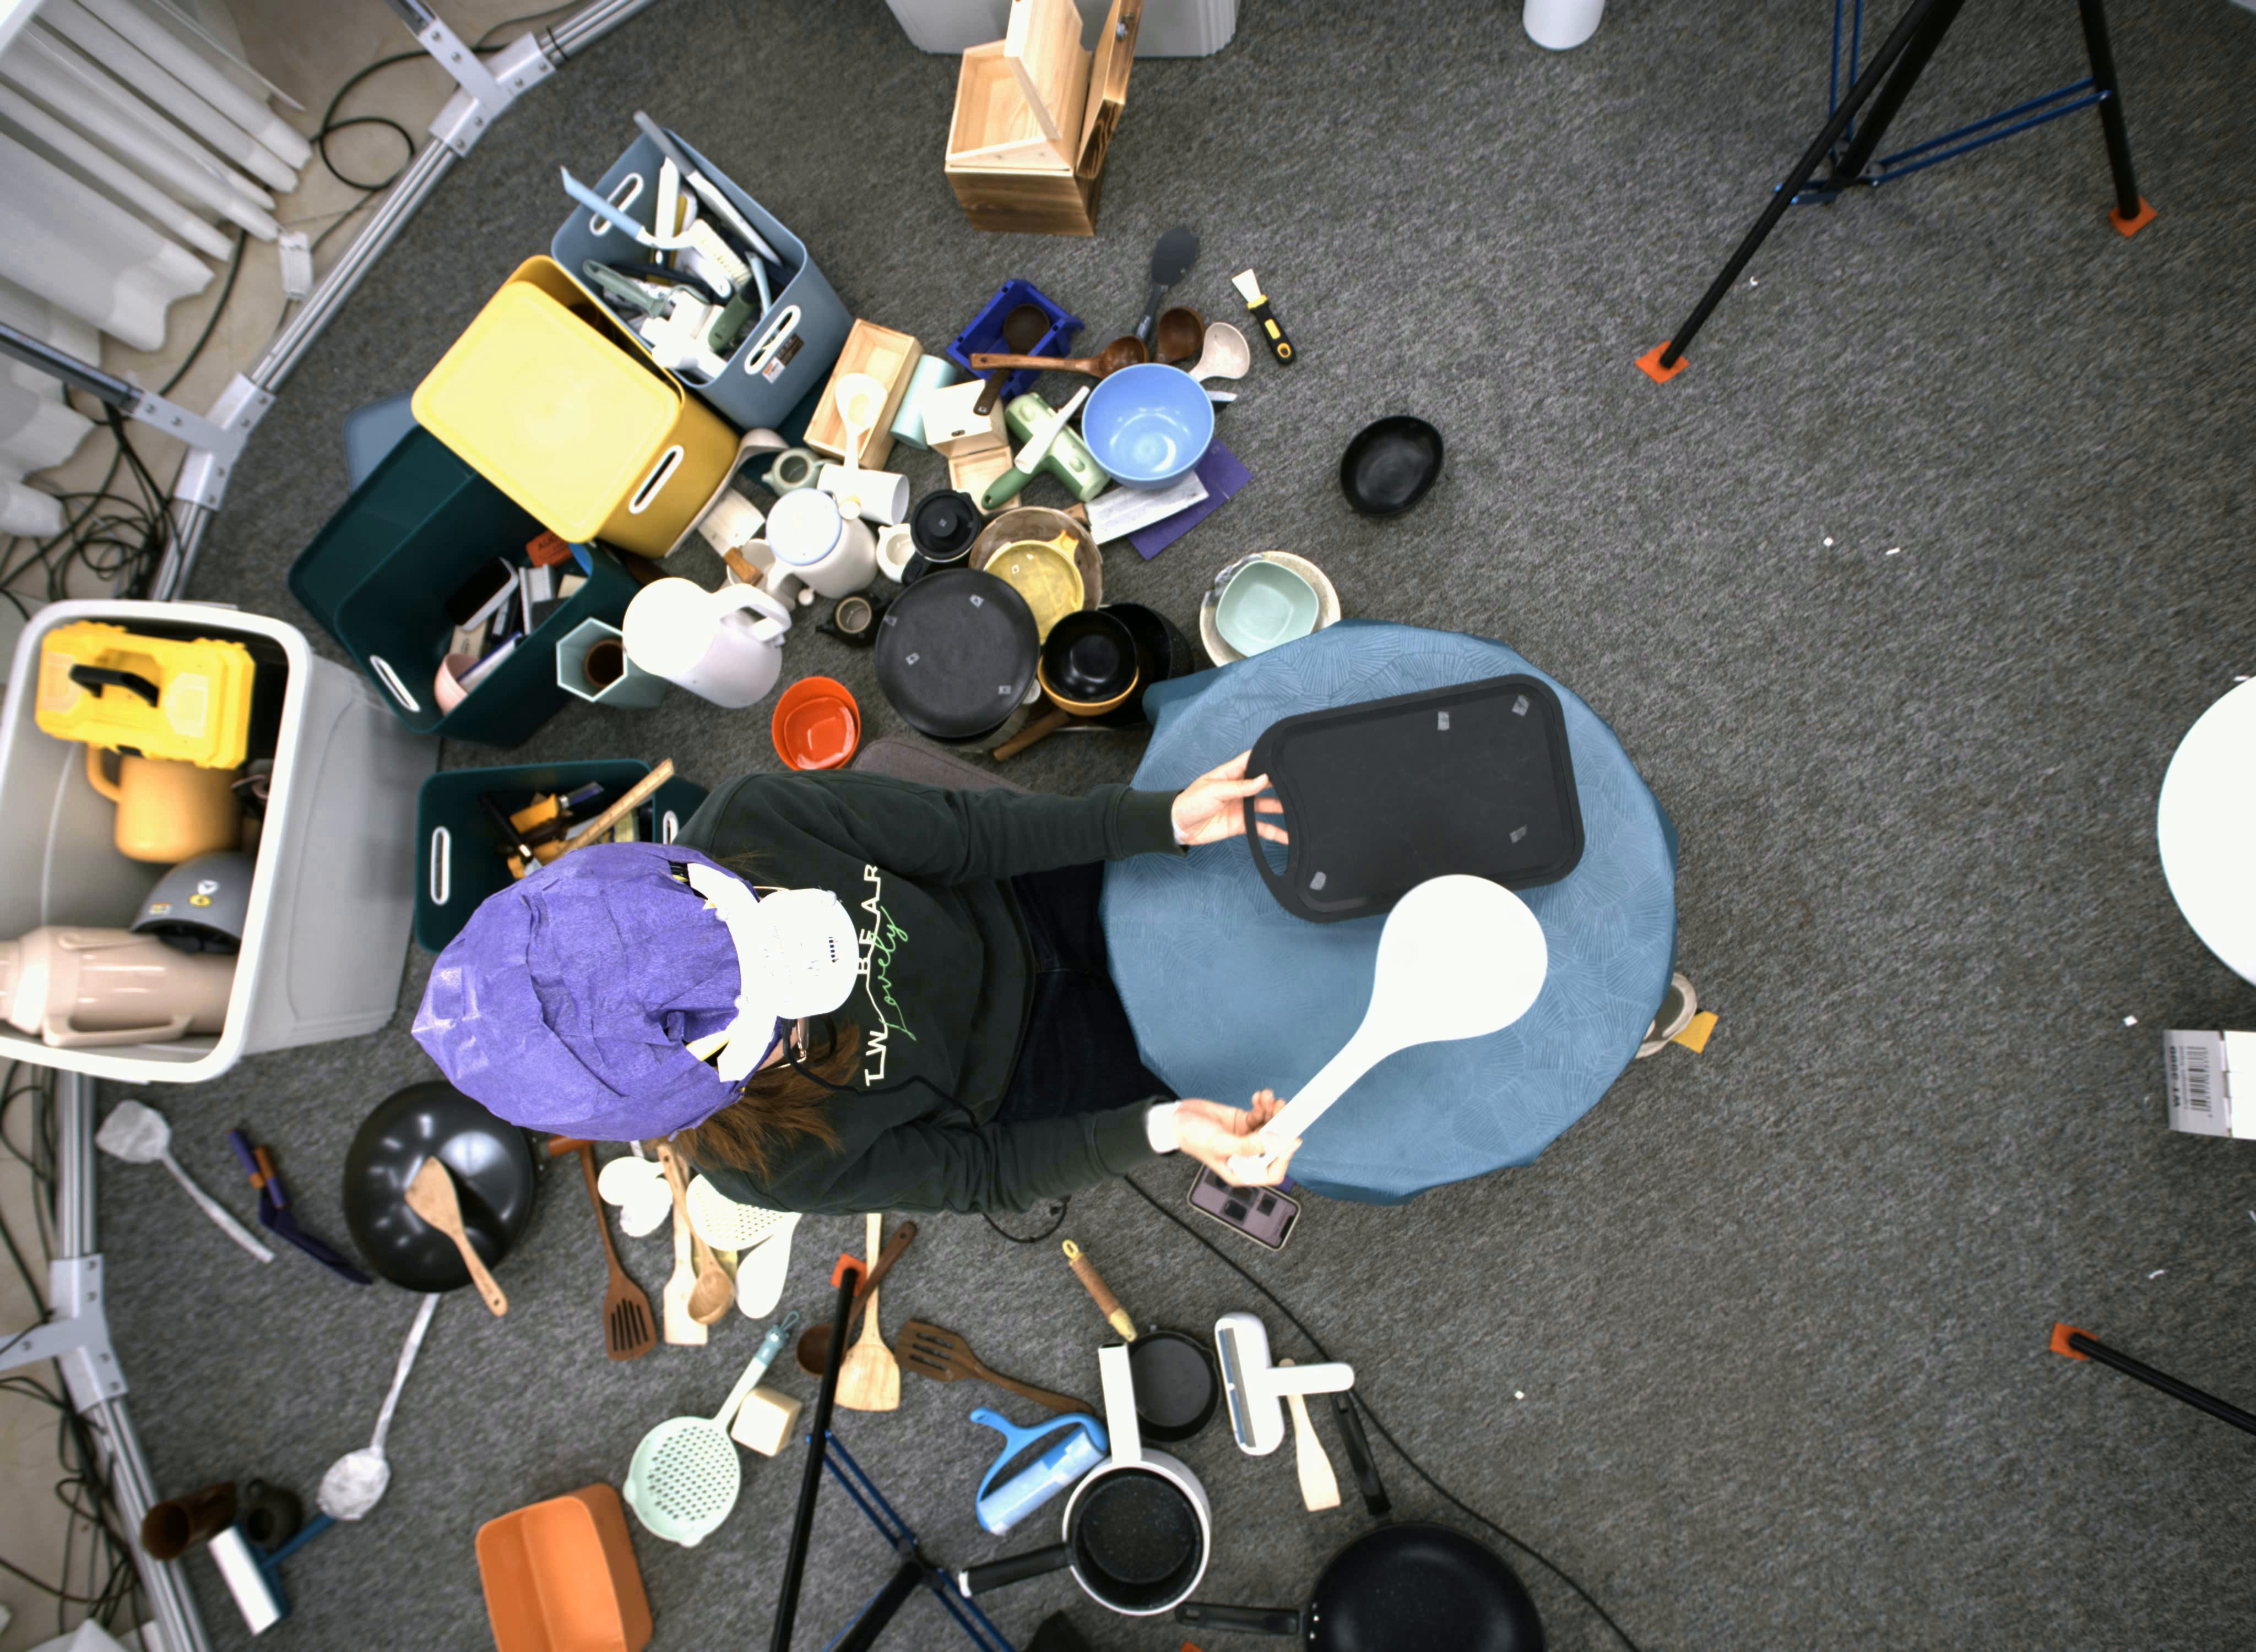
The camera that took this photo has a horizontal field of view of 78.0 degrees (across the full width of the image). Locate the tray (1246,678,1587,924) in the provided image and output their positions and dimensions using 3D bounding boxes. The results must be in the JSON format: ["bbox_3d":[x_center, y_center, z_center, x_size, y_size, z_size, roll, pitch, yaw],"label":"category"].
[{"bbox_3d":[0.279,-0.023,1.356,0.327,0.010,0.211,-10,94,8],"label":"tray"}]

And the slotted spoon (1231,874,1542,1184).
[{"bbox_3d":[0.218,0.187,1.223,0.135,0.045,0.352,45,97,11],"label":"slotted spoon"}]
